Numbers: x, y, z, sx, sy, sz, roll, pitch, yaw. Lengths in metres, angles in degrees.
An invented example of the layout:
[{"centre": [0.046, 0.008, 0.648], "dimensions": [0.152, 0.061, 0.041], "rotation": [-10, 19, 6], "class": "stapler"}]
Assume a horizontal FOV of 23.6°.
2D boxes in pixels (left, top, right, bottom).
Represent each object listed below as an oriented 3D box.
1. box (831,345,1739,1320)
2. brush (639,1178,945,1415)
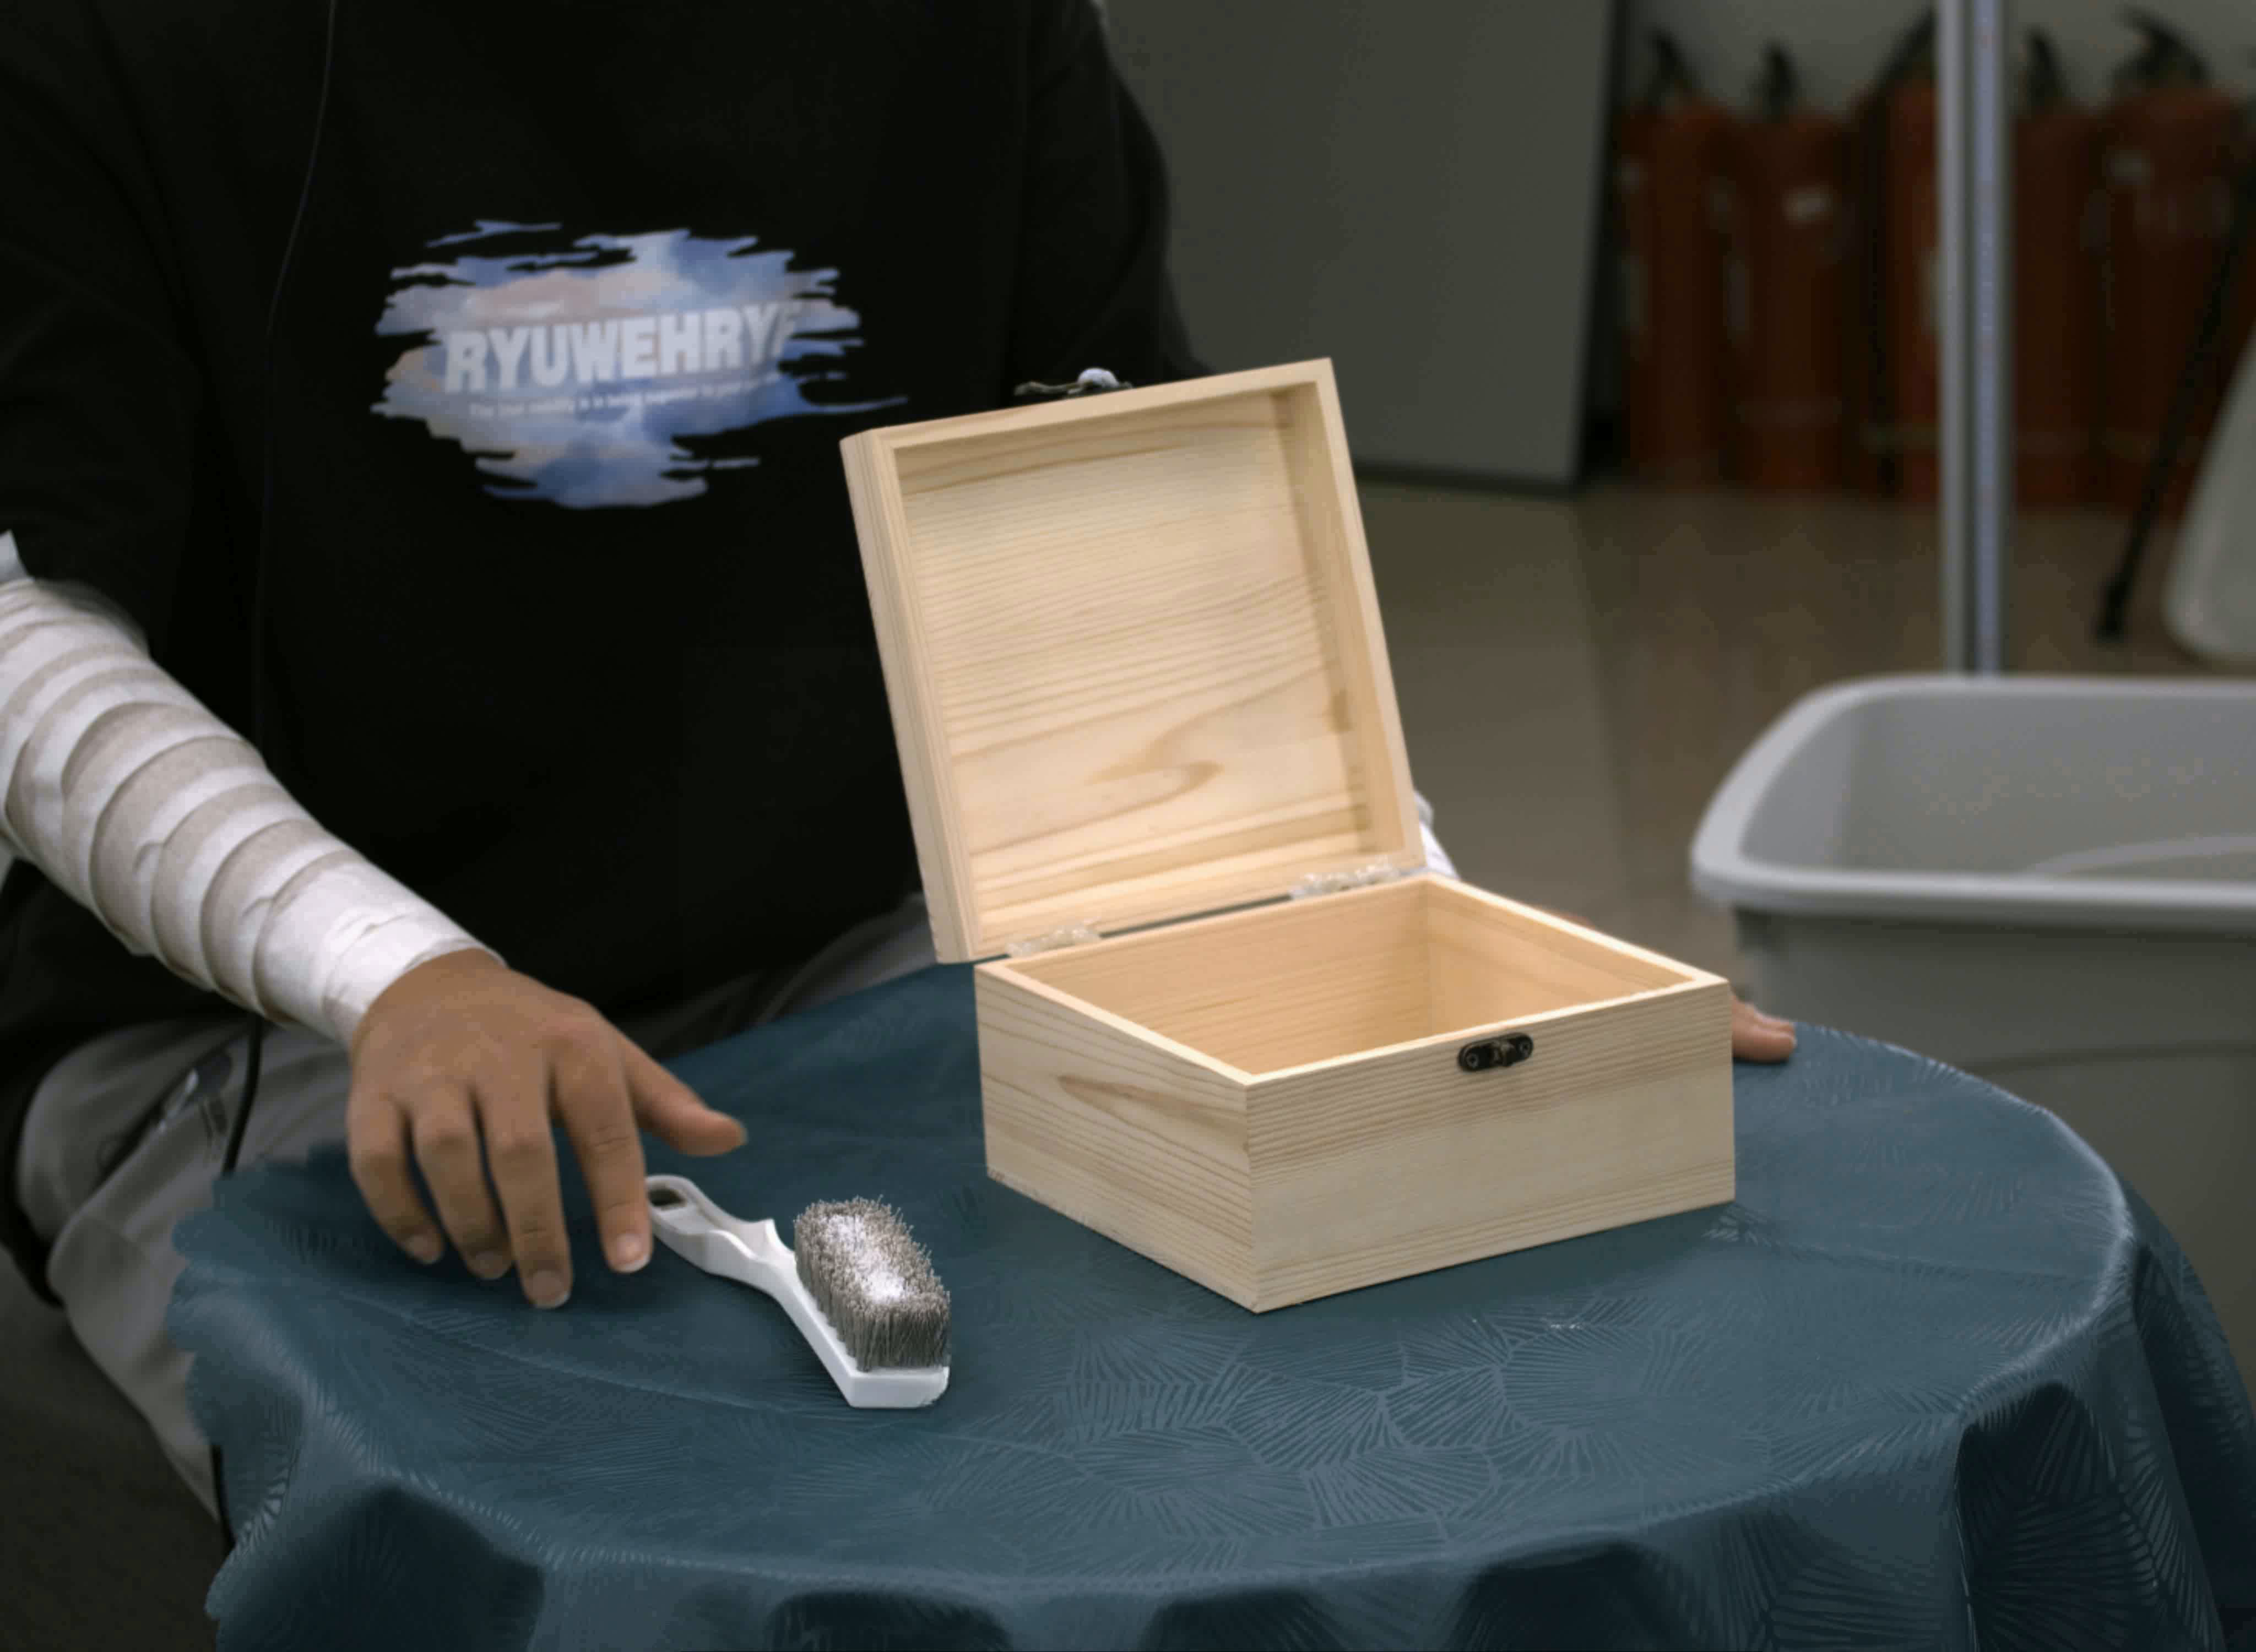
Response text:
[{"centre": [0.050, -0.008, 1.761], "dimensions": [0.178, 0.256, 0.268], "rotation": [-12, 15, -27], "class": "box"}, {"centre": [-0.110, 0.126, 1.681], "dimensions": [0.033, 0.051, 0.246], "rotation": [-9, 15, -20], "class": "brush"}]
